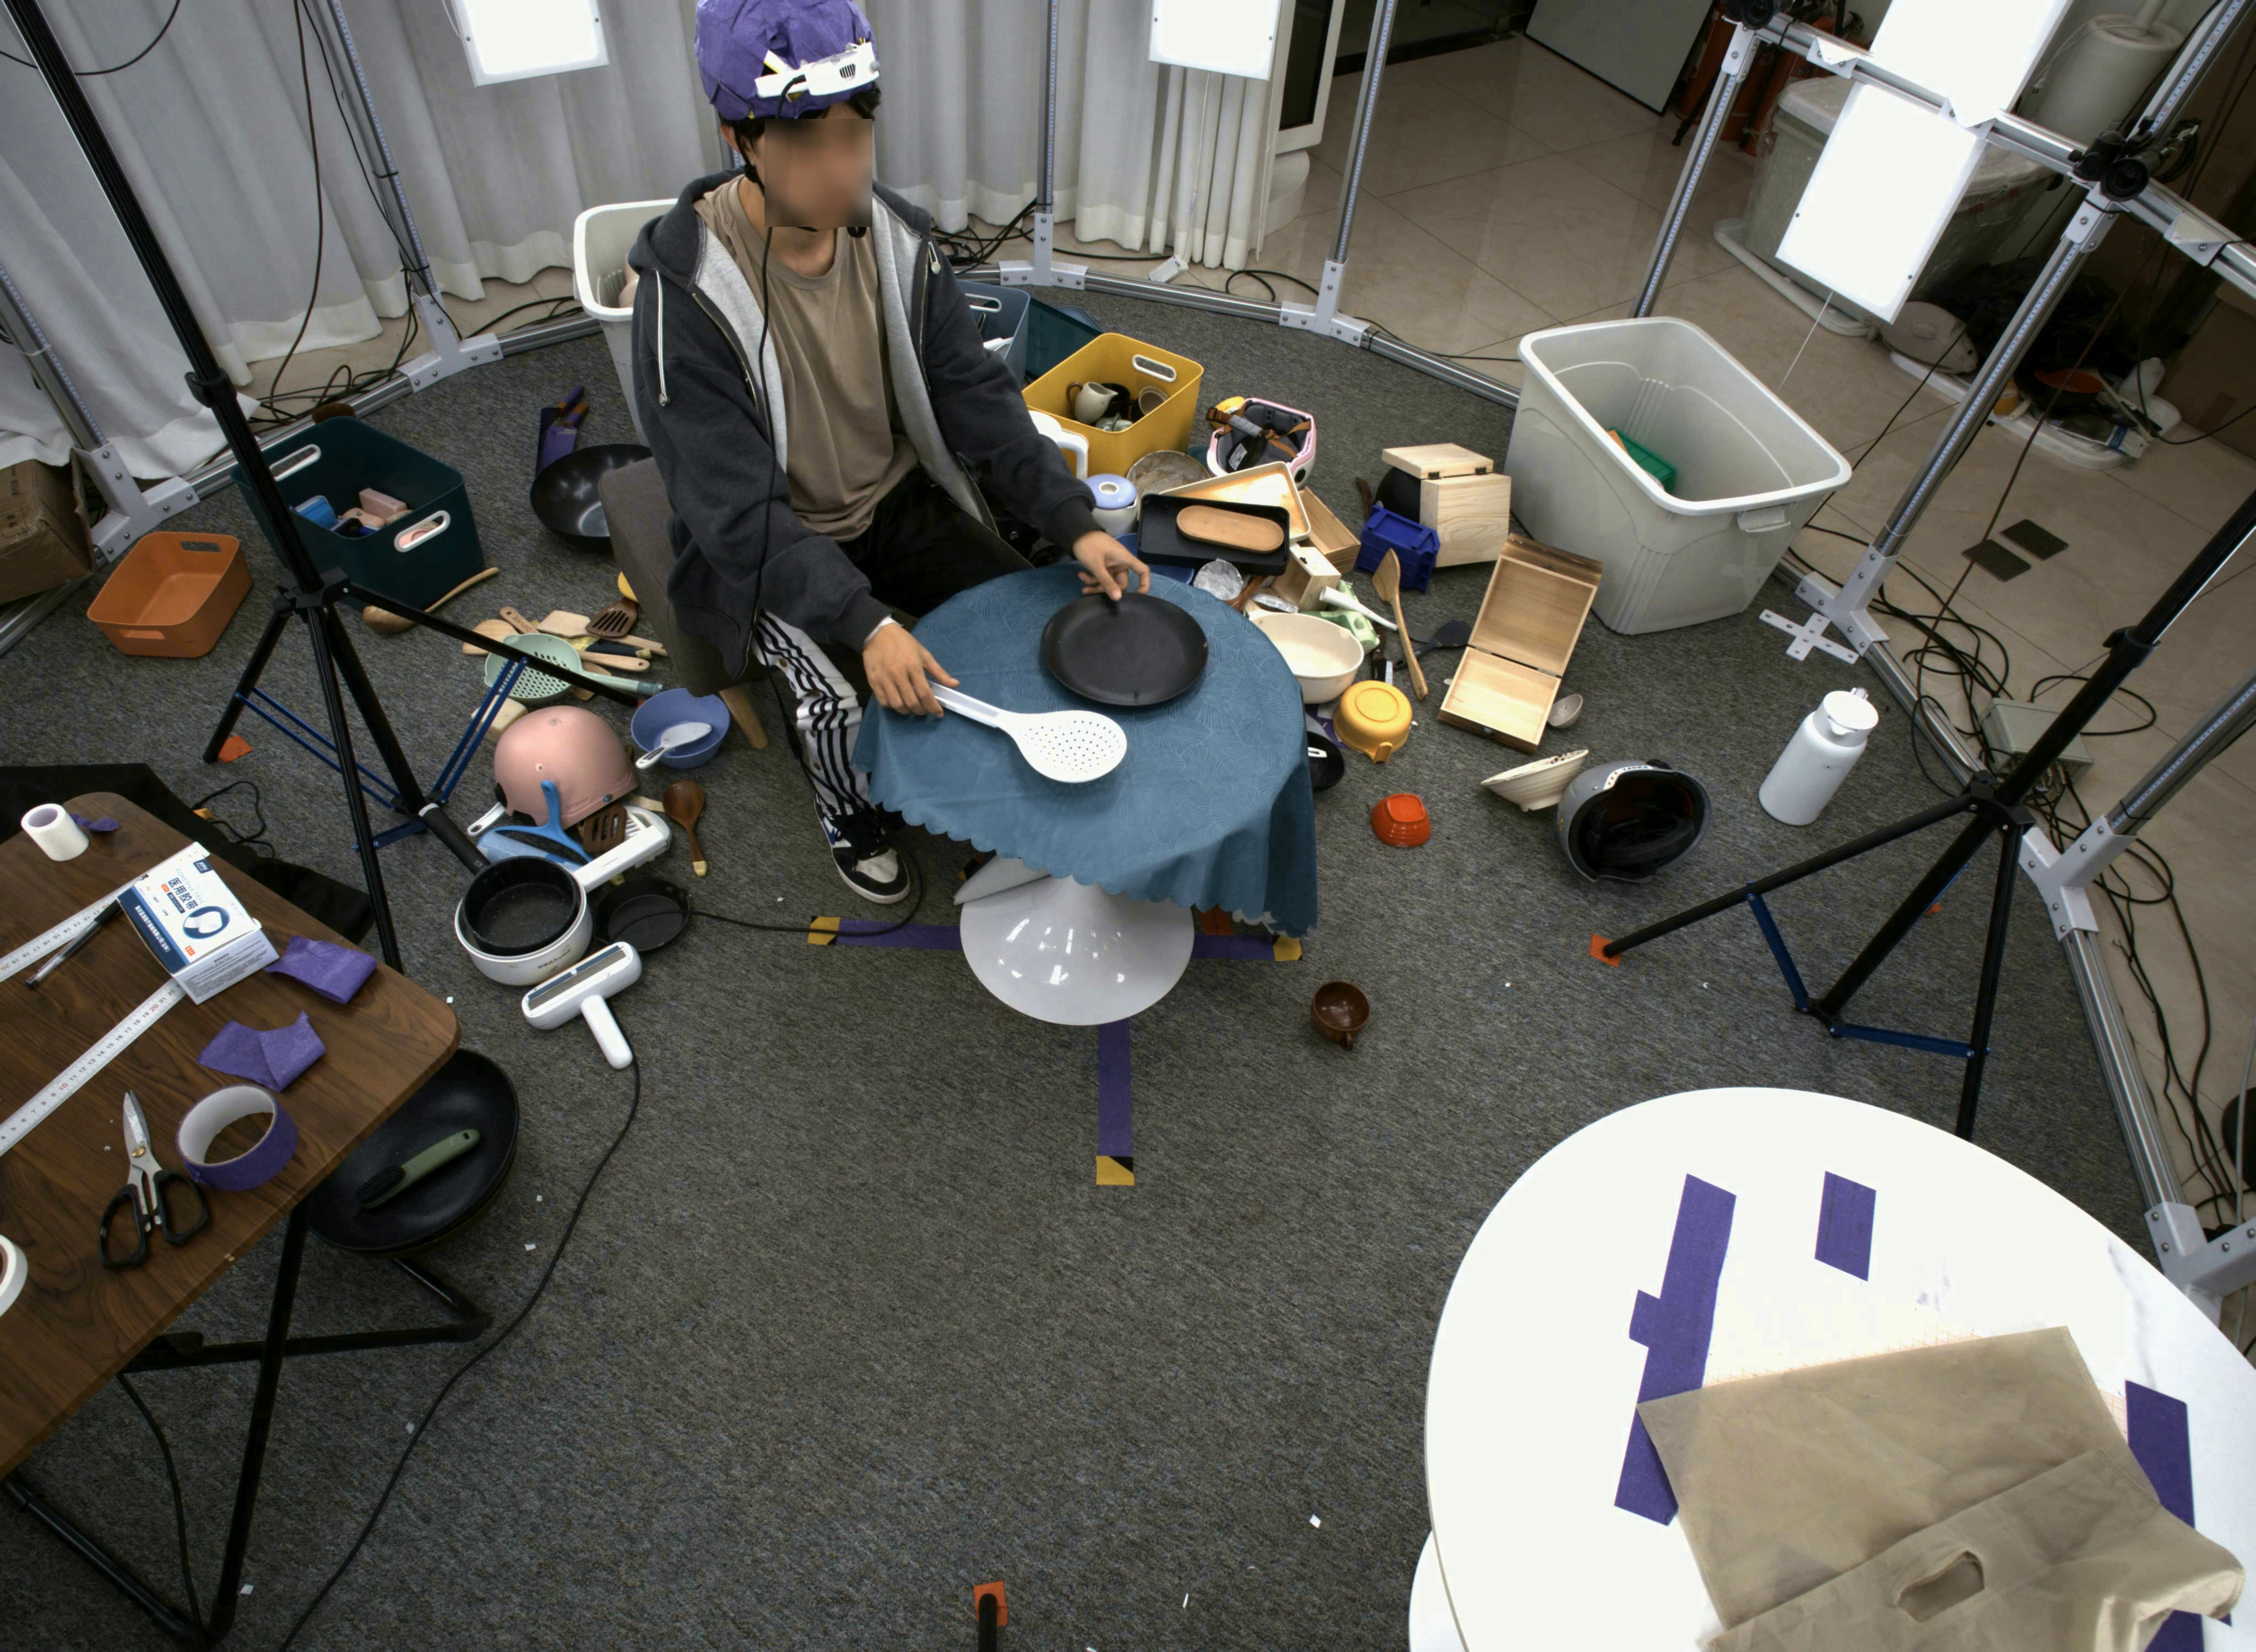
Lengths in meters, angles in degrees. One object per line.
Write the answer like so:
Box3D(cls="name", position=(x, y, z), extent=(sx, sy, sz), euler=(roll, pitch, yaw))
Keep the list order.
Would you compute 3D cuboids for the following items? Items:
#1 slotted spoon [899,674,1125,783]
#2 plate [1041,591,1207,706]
Box3D(cls="slotted spoon", position=(-0.165, -0.141, 1.748), extent=(0.353, 0.044, 0.138), euler=(25, 50, 18))
Box3D(cls="plate", position=(-0.006, -0.256, 1.874), extent=(0.244, 0.023, 0.250), euler=(2, 49, -2))
